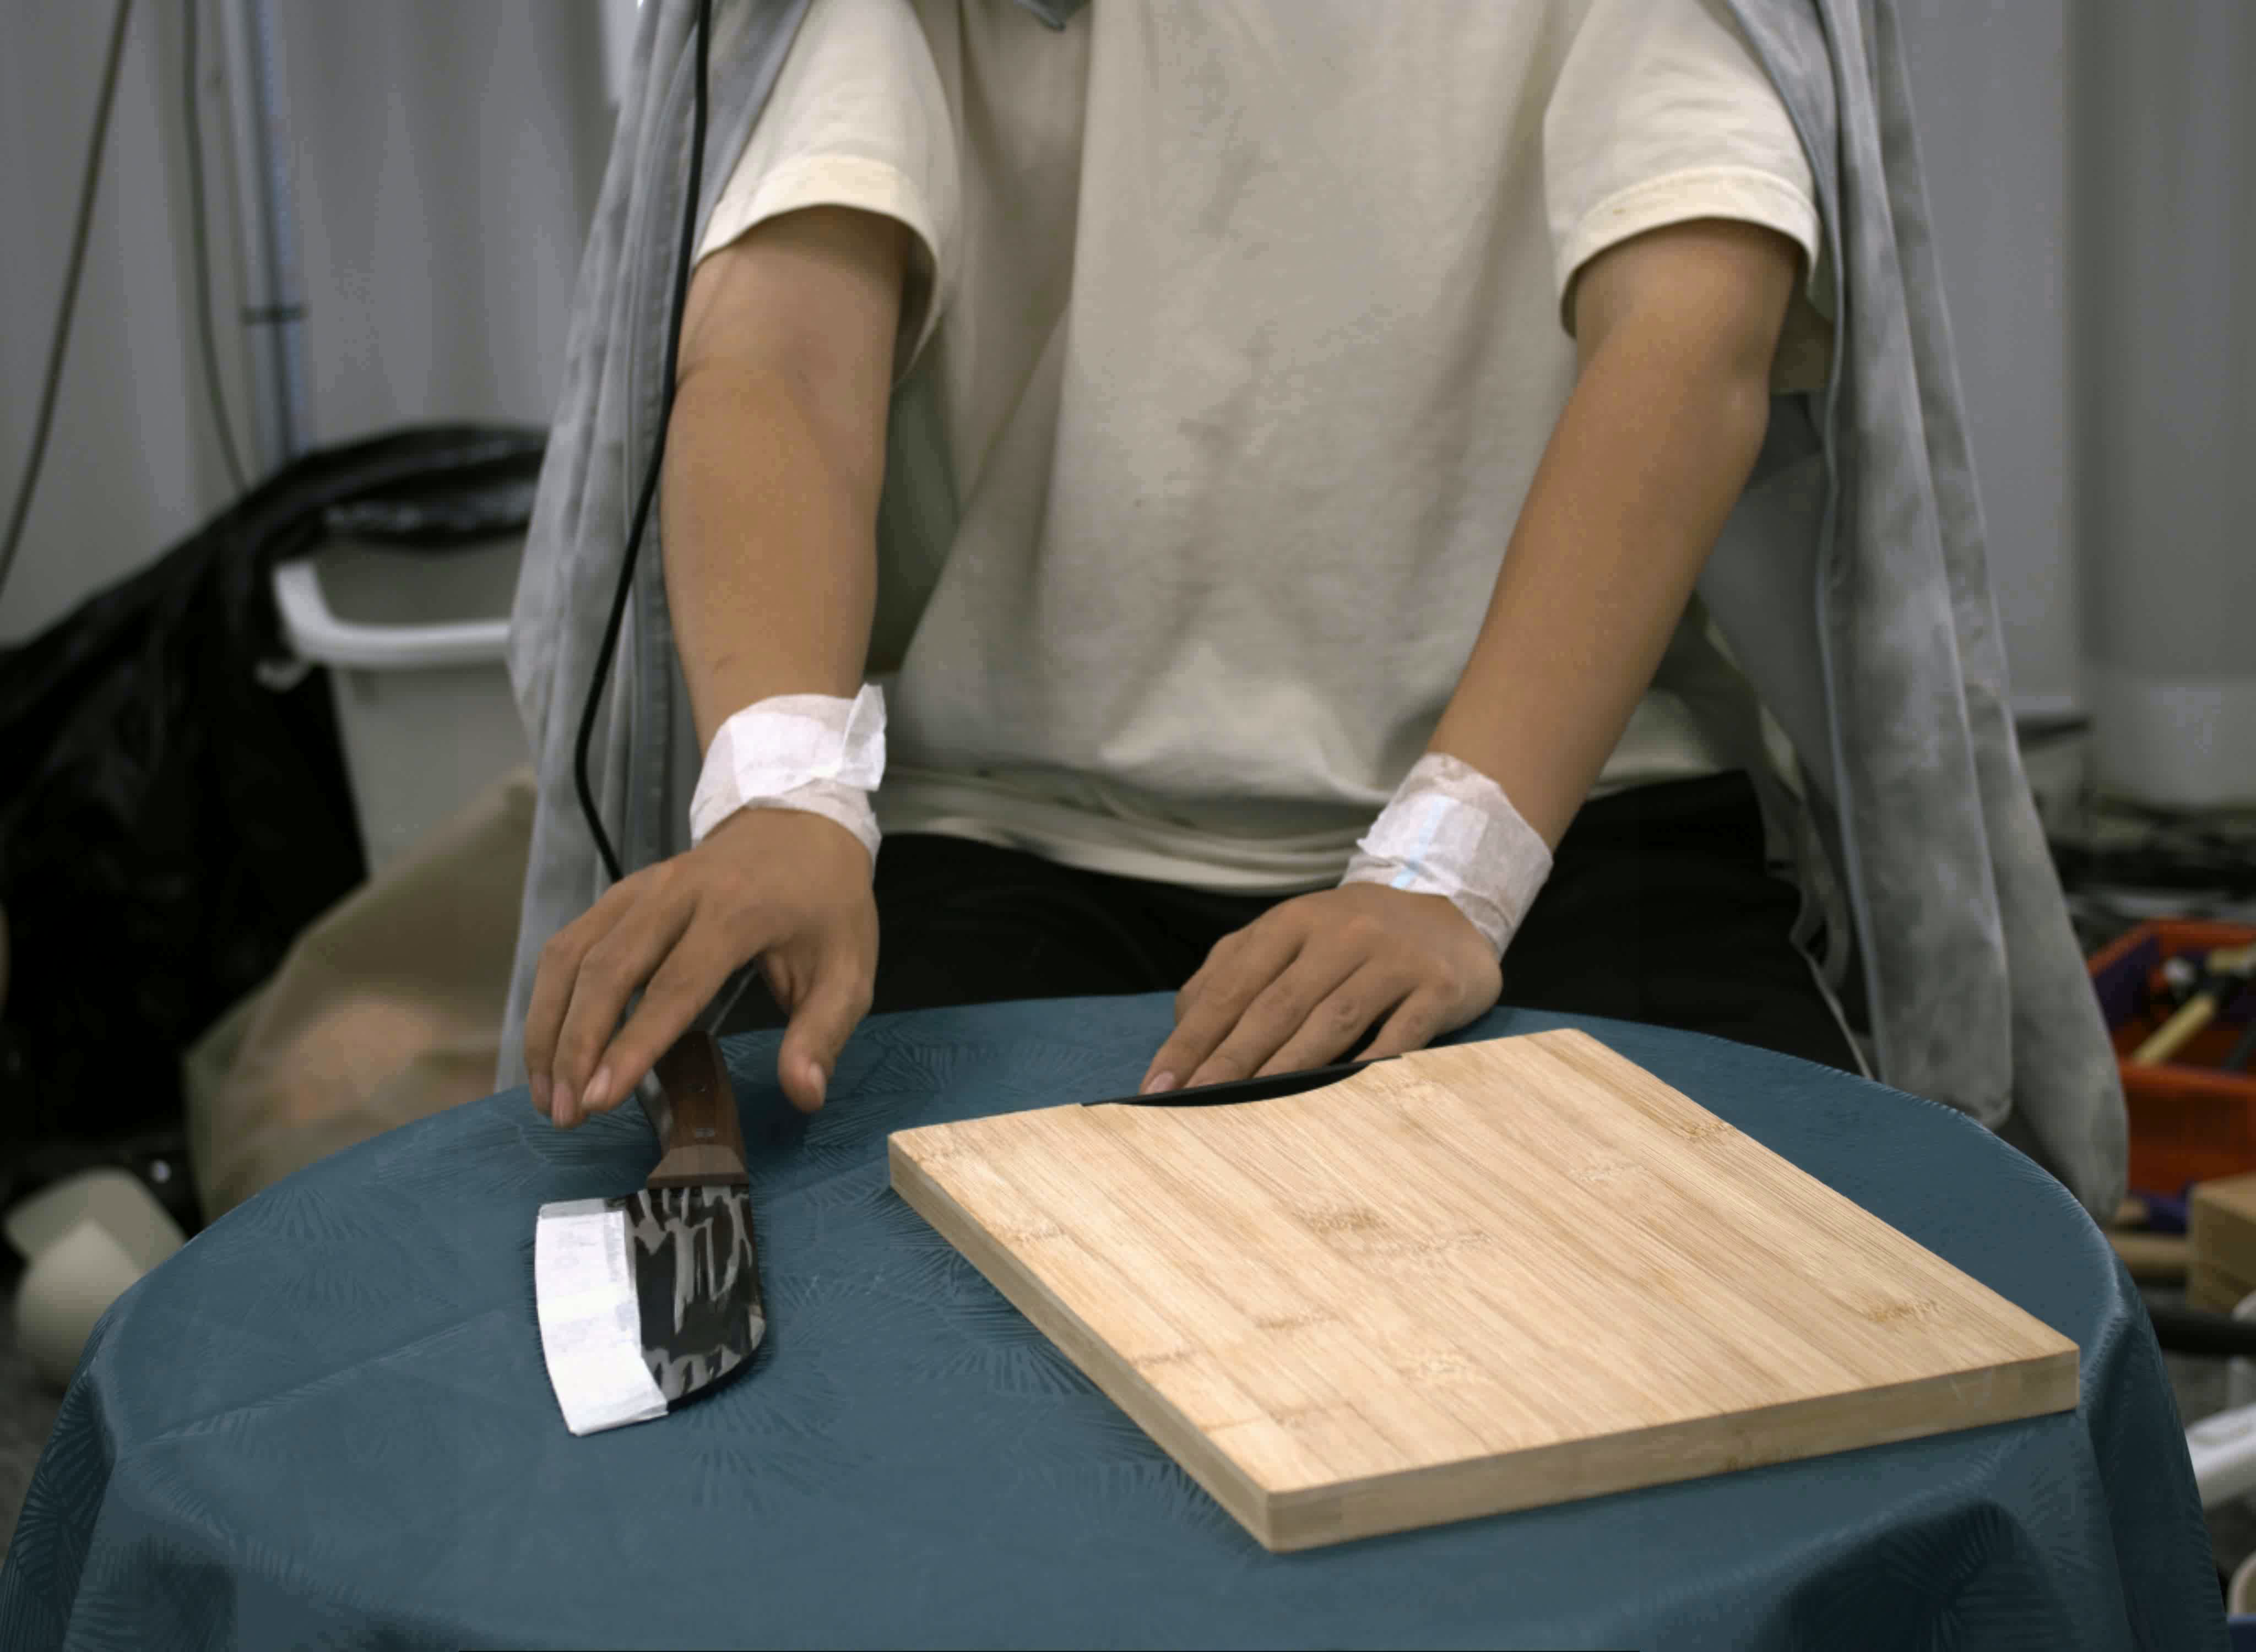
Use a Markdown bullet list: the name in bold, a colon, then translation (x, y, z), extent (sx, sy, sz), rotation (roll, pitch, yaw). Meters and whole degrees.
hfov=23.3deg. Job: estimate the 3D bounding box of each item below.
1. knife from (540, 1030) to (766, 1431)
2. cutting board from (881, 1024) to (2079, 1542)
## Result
- **knife**: translation (-0.147, 0.123, 1.679), extent (0.068, 0.024, 0.302), rotation (-6, 18, -4)
- **cutting board**: translation (0.091, 0.128, 1.620), extent (0.249, 0.023, 0.351), rotation (-8, 15, -19)
